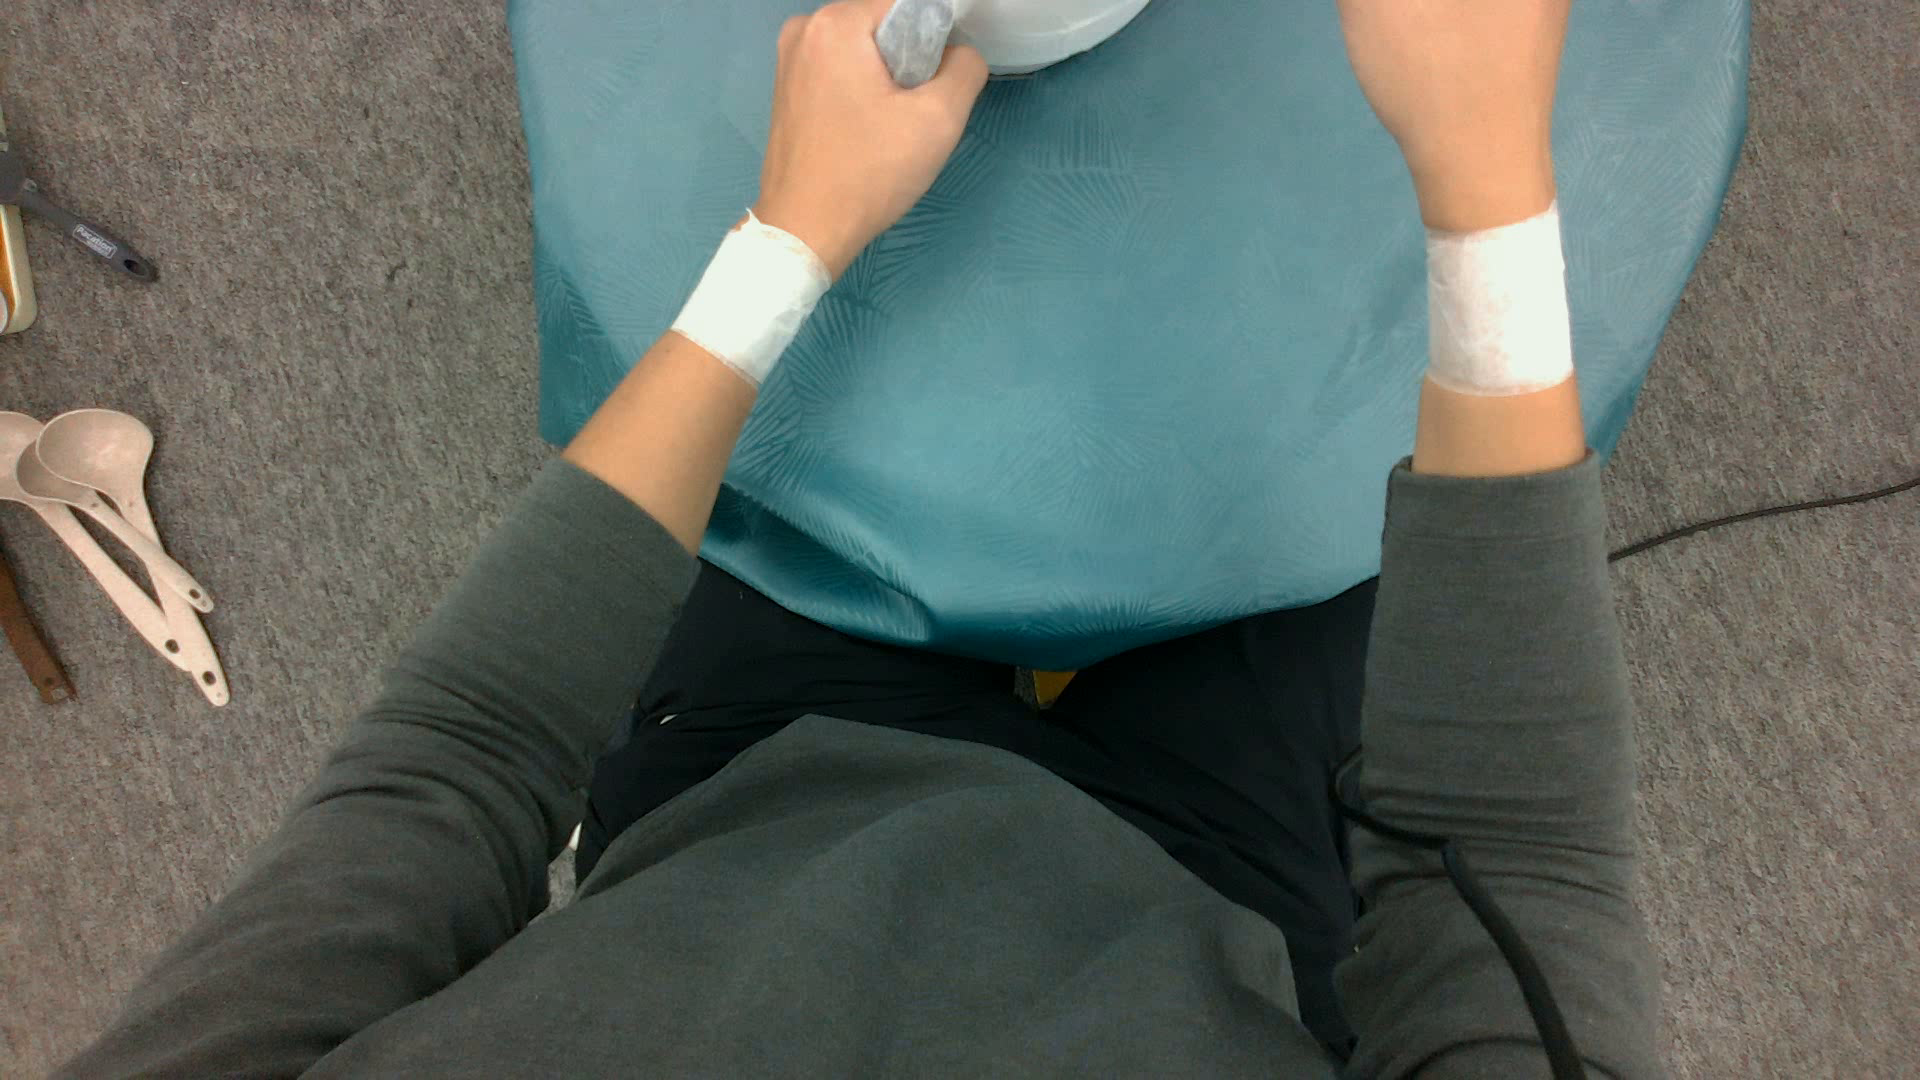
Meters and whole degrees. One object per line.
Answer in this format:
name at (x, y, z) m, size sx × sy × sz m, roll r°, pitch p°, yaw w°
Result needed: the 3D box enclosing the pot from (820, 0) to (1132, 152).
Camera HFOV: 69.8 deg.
pot at (0.009, -0.282, 0.593) m, size 0.179 × 0.136 × 0.233 m, roll 26°, pitch 90°, yaw -10°
